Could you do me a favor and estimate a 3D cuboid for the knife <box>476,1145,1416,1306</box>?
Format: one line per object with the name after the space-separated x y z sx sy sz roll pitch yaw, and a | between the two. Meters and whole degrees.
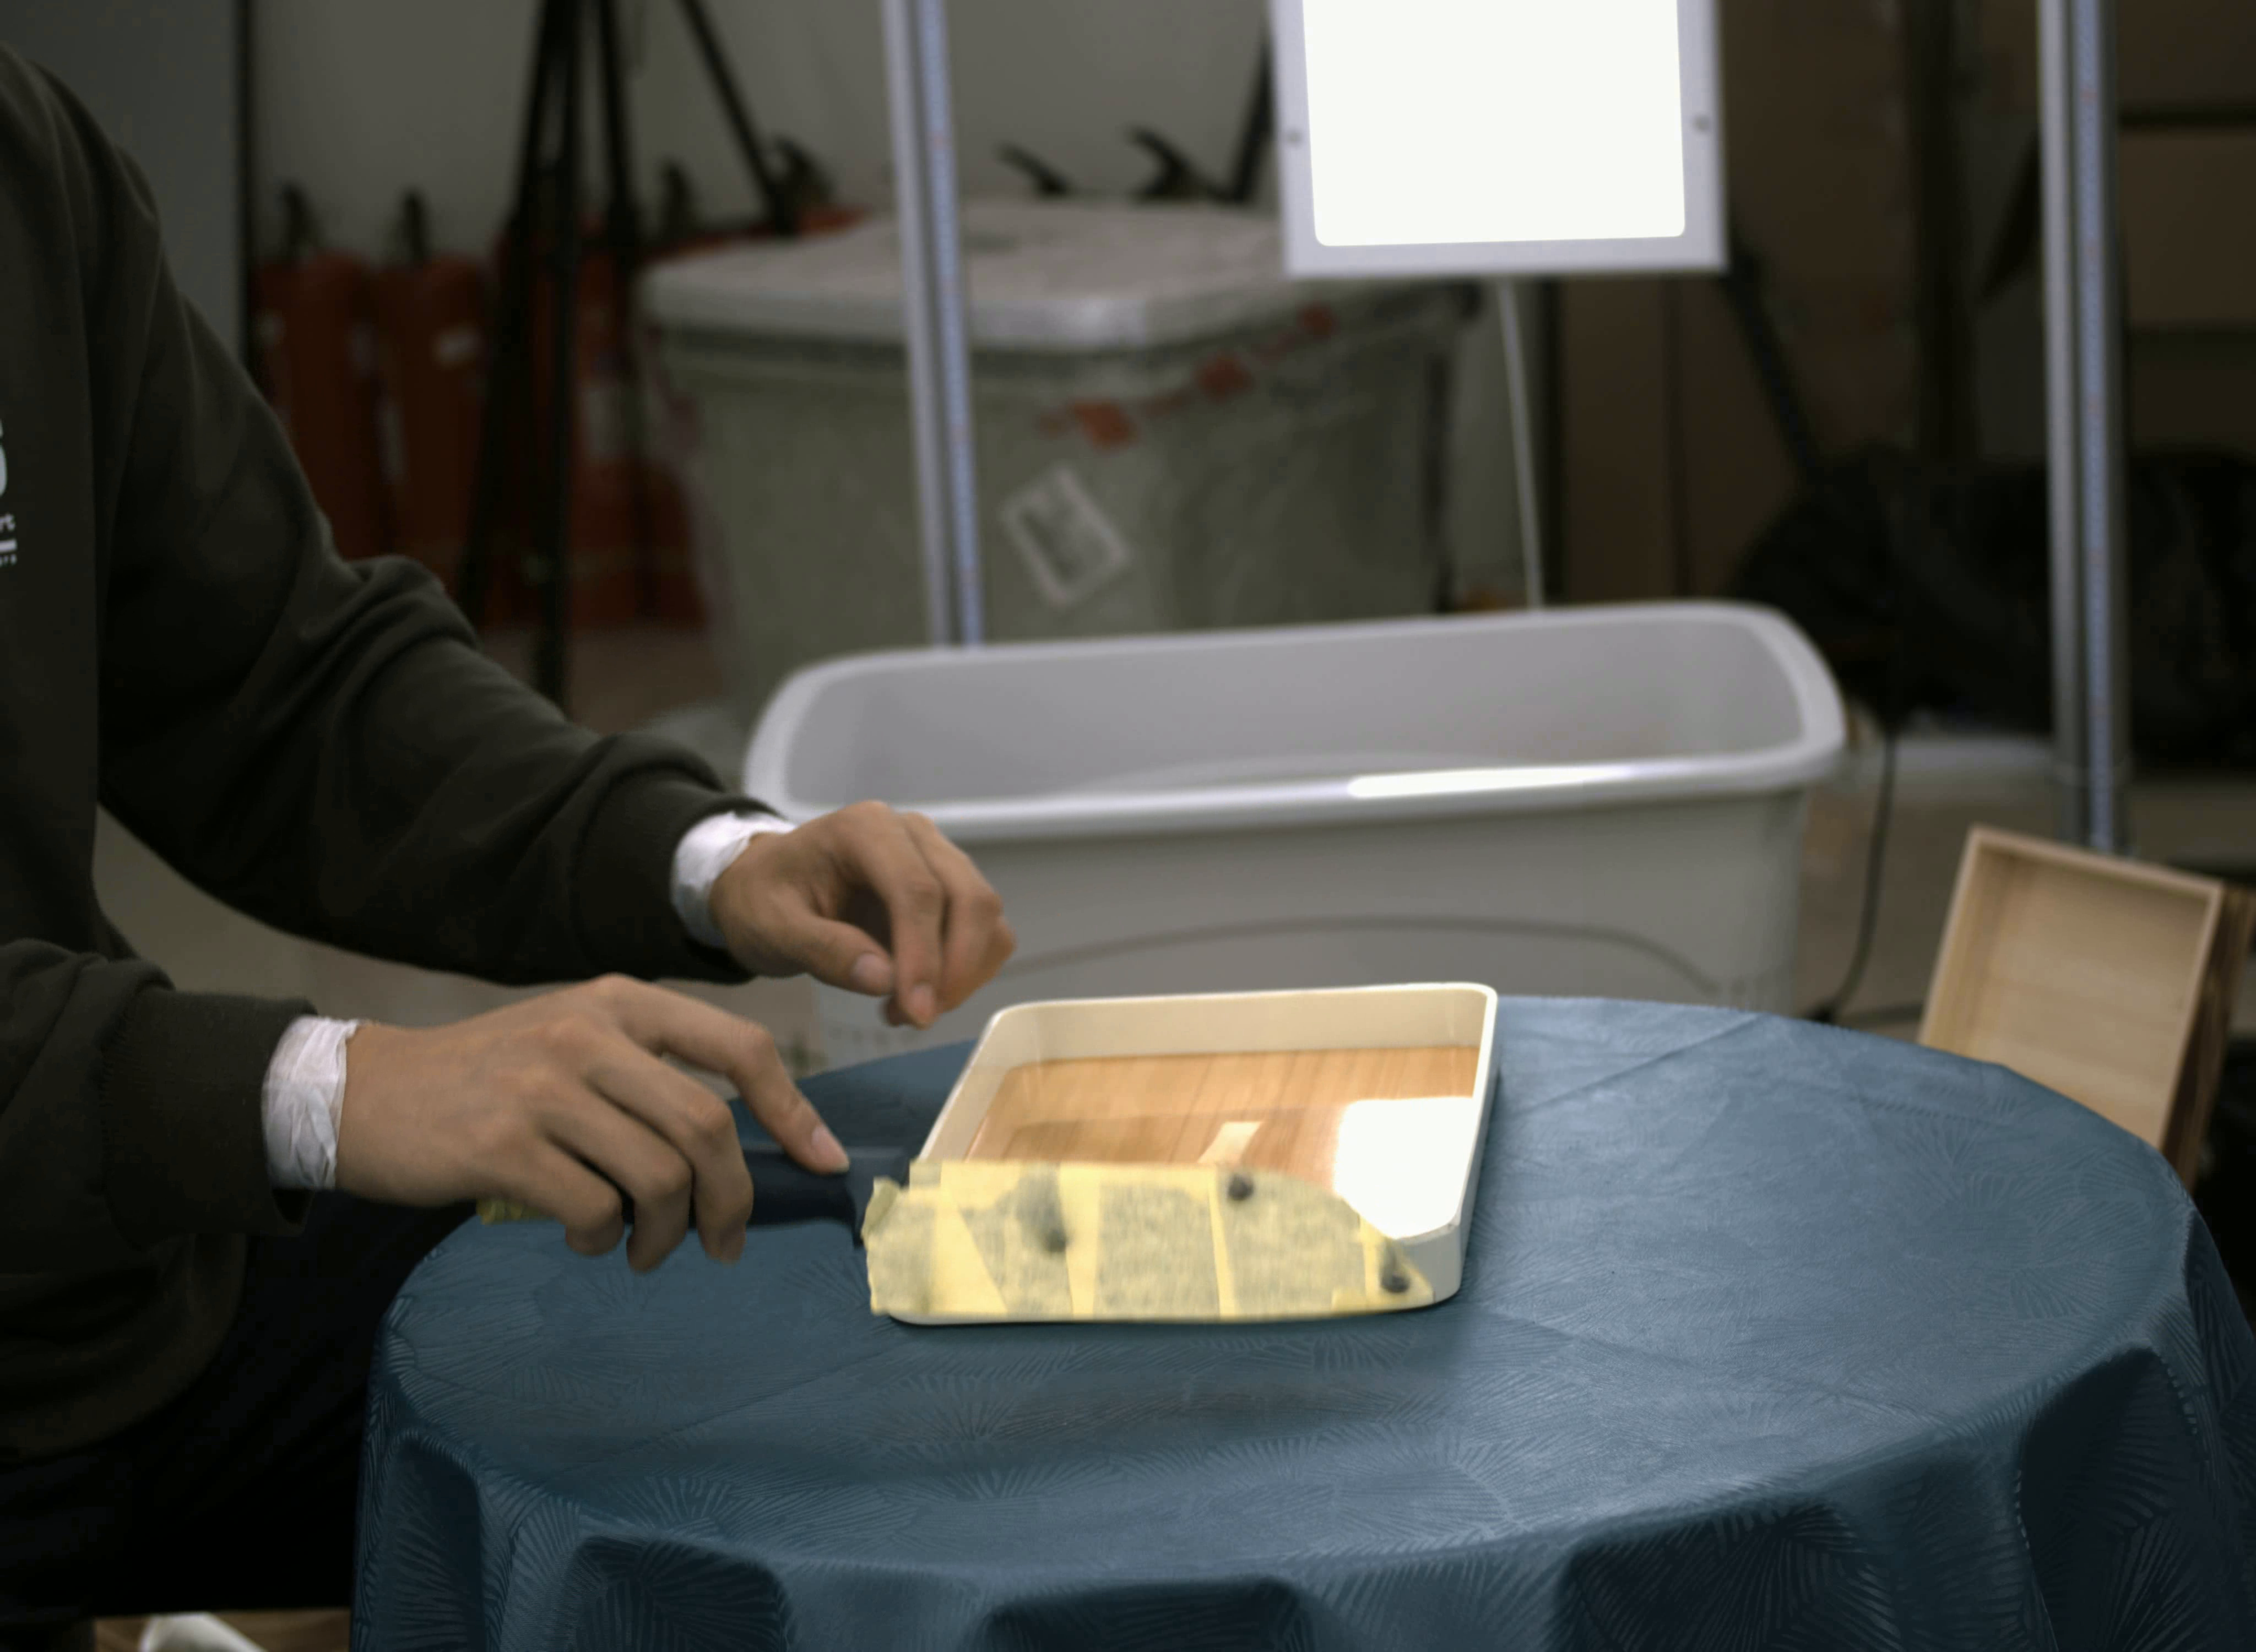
-0.055 0.121 1.681 0.289 0.027 0.080 1 34 1 | knife

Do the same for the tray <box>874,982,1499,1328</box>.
0.027 0.110 1.904 0.192 0.027 0.297 -4 13 9 | tray
